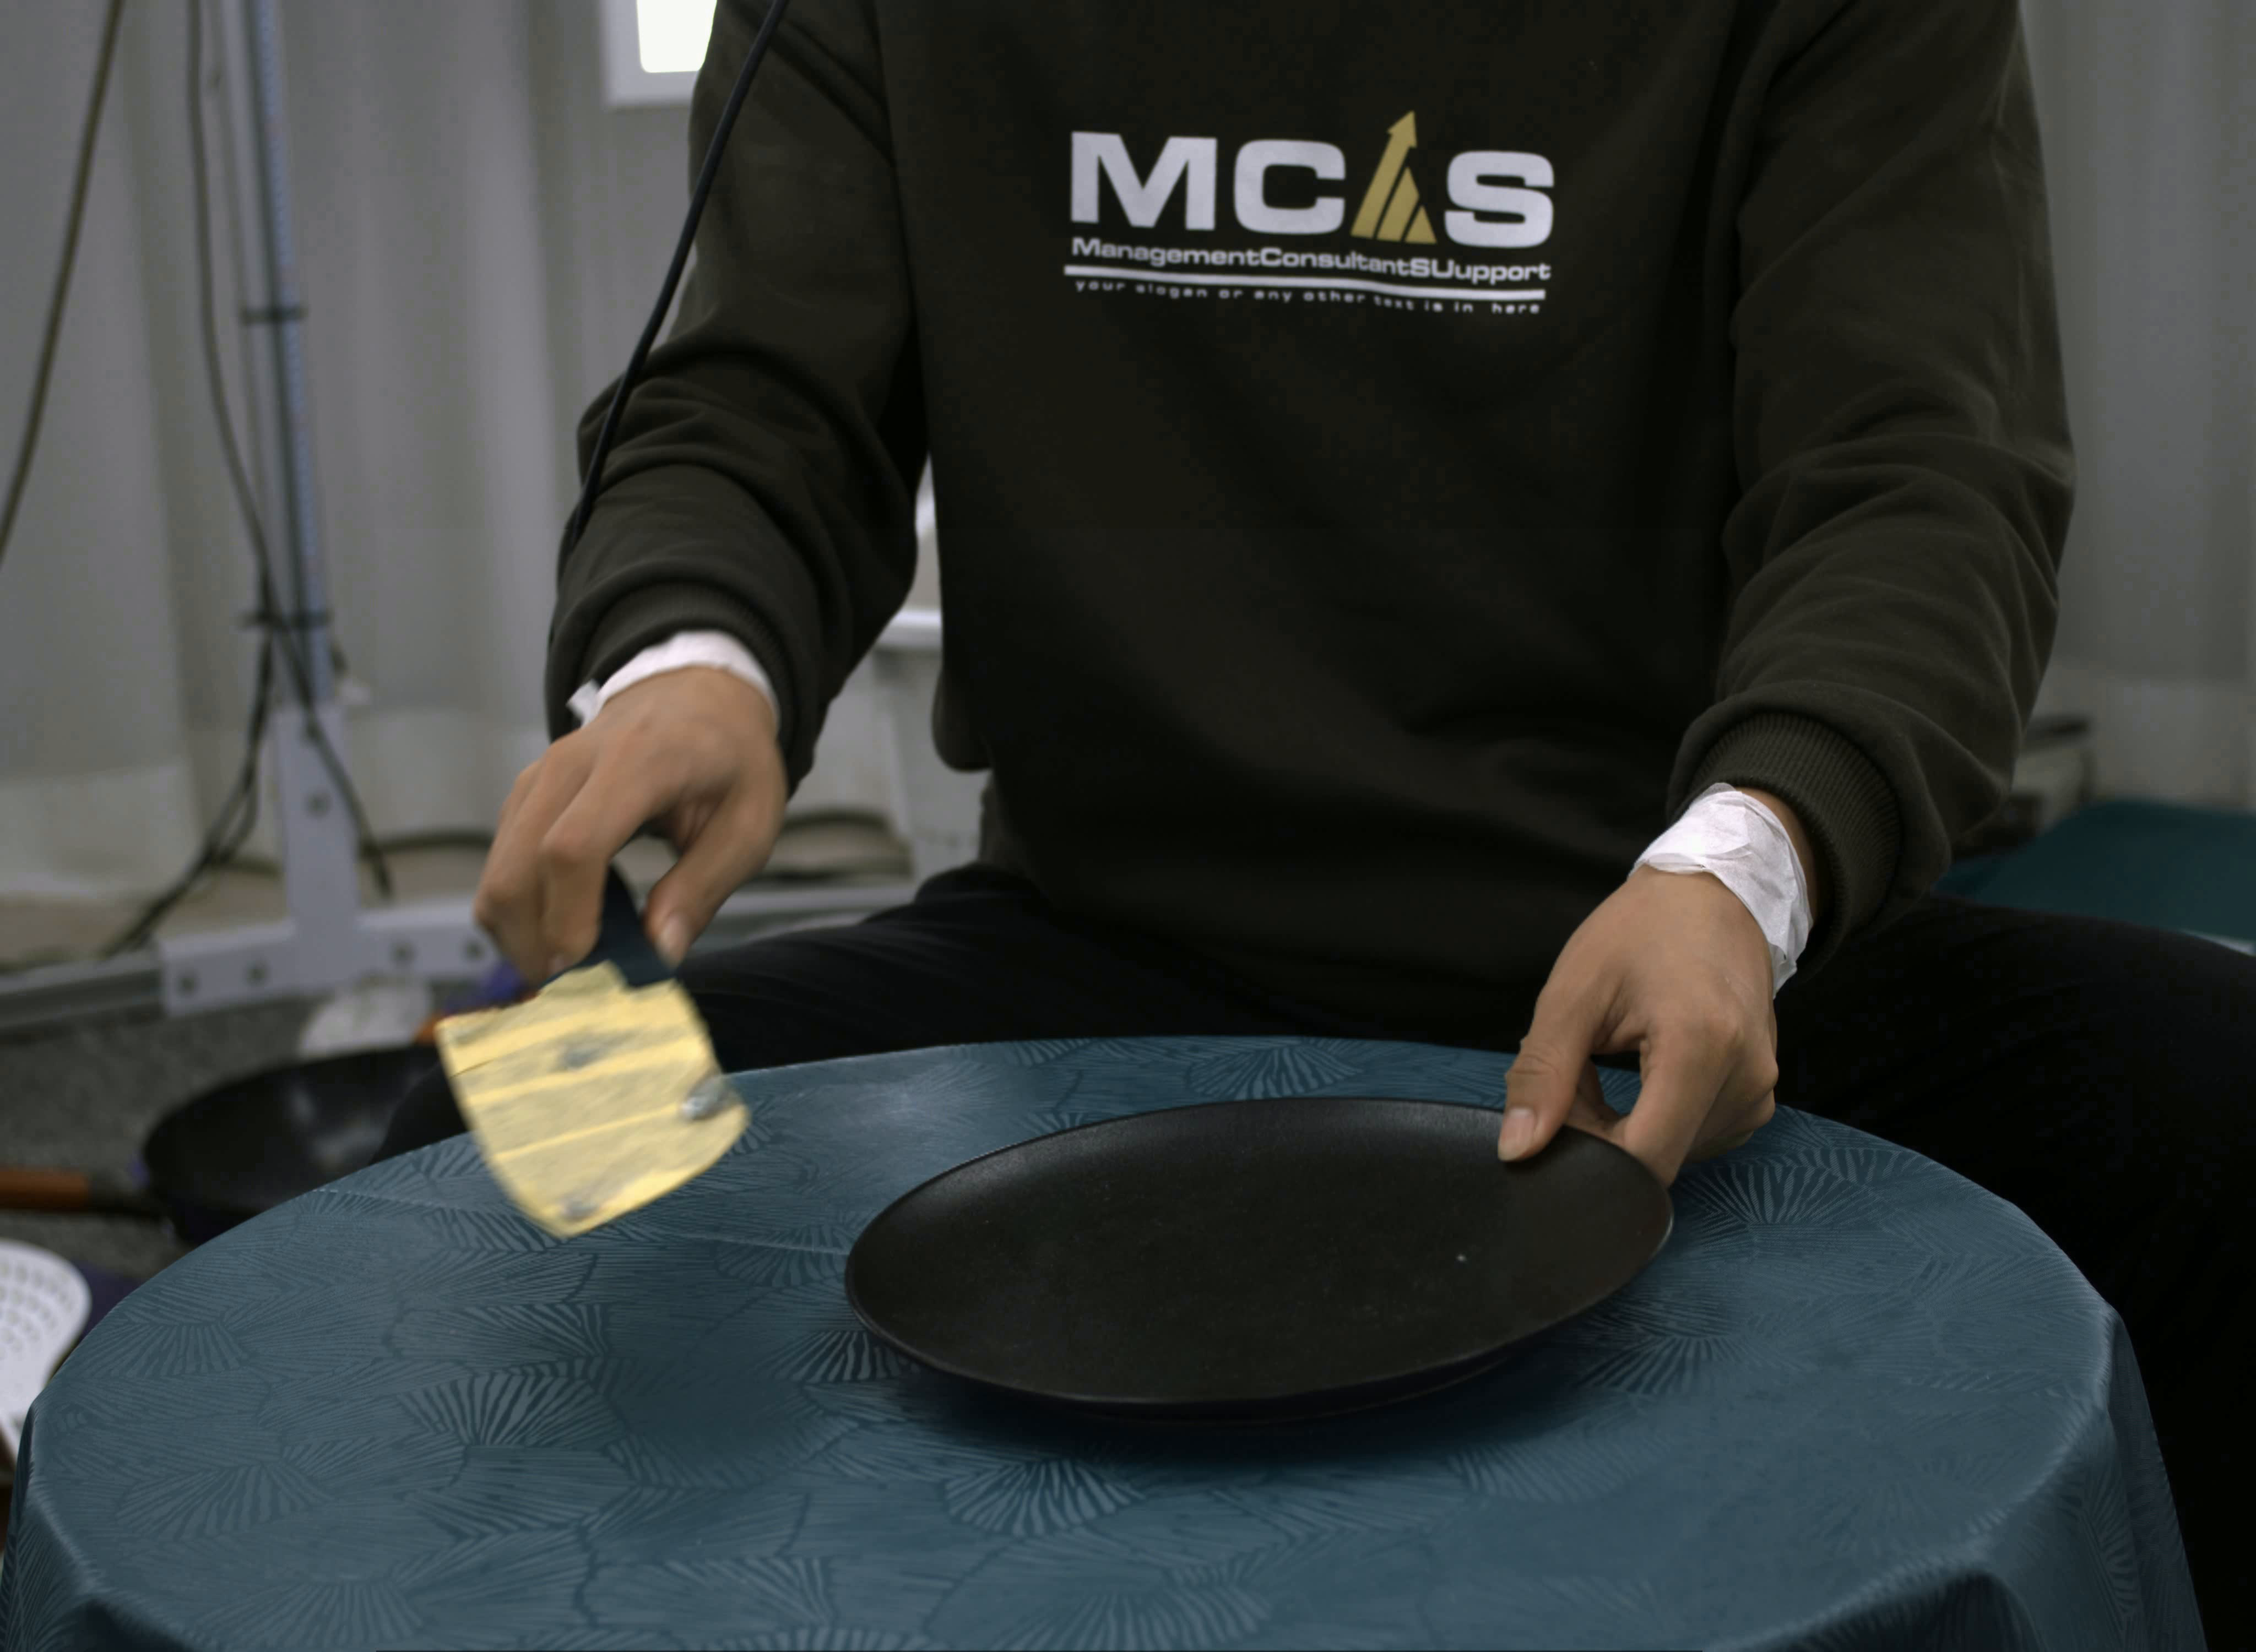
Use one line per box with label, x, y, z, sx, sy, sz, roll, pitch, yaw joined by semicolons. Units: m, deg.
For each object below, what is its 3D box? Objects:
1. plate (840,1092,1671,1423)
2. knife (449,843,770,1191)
plate;0.037;0.129;1.593;0.243;0.023;0.246;-5;16;1
knife;-0.160;0.057;1.625;0.081;0.027;0.292;-12;19;-9
